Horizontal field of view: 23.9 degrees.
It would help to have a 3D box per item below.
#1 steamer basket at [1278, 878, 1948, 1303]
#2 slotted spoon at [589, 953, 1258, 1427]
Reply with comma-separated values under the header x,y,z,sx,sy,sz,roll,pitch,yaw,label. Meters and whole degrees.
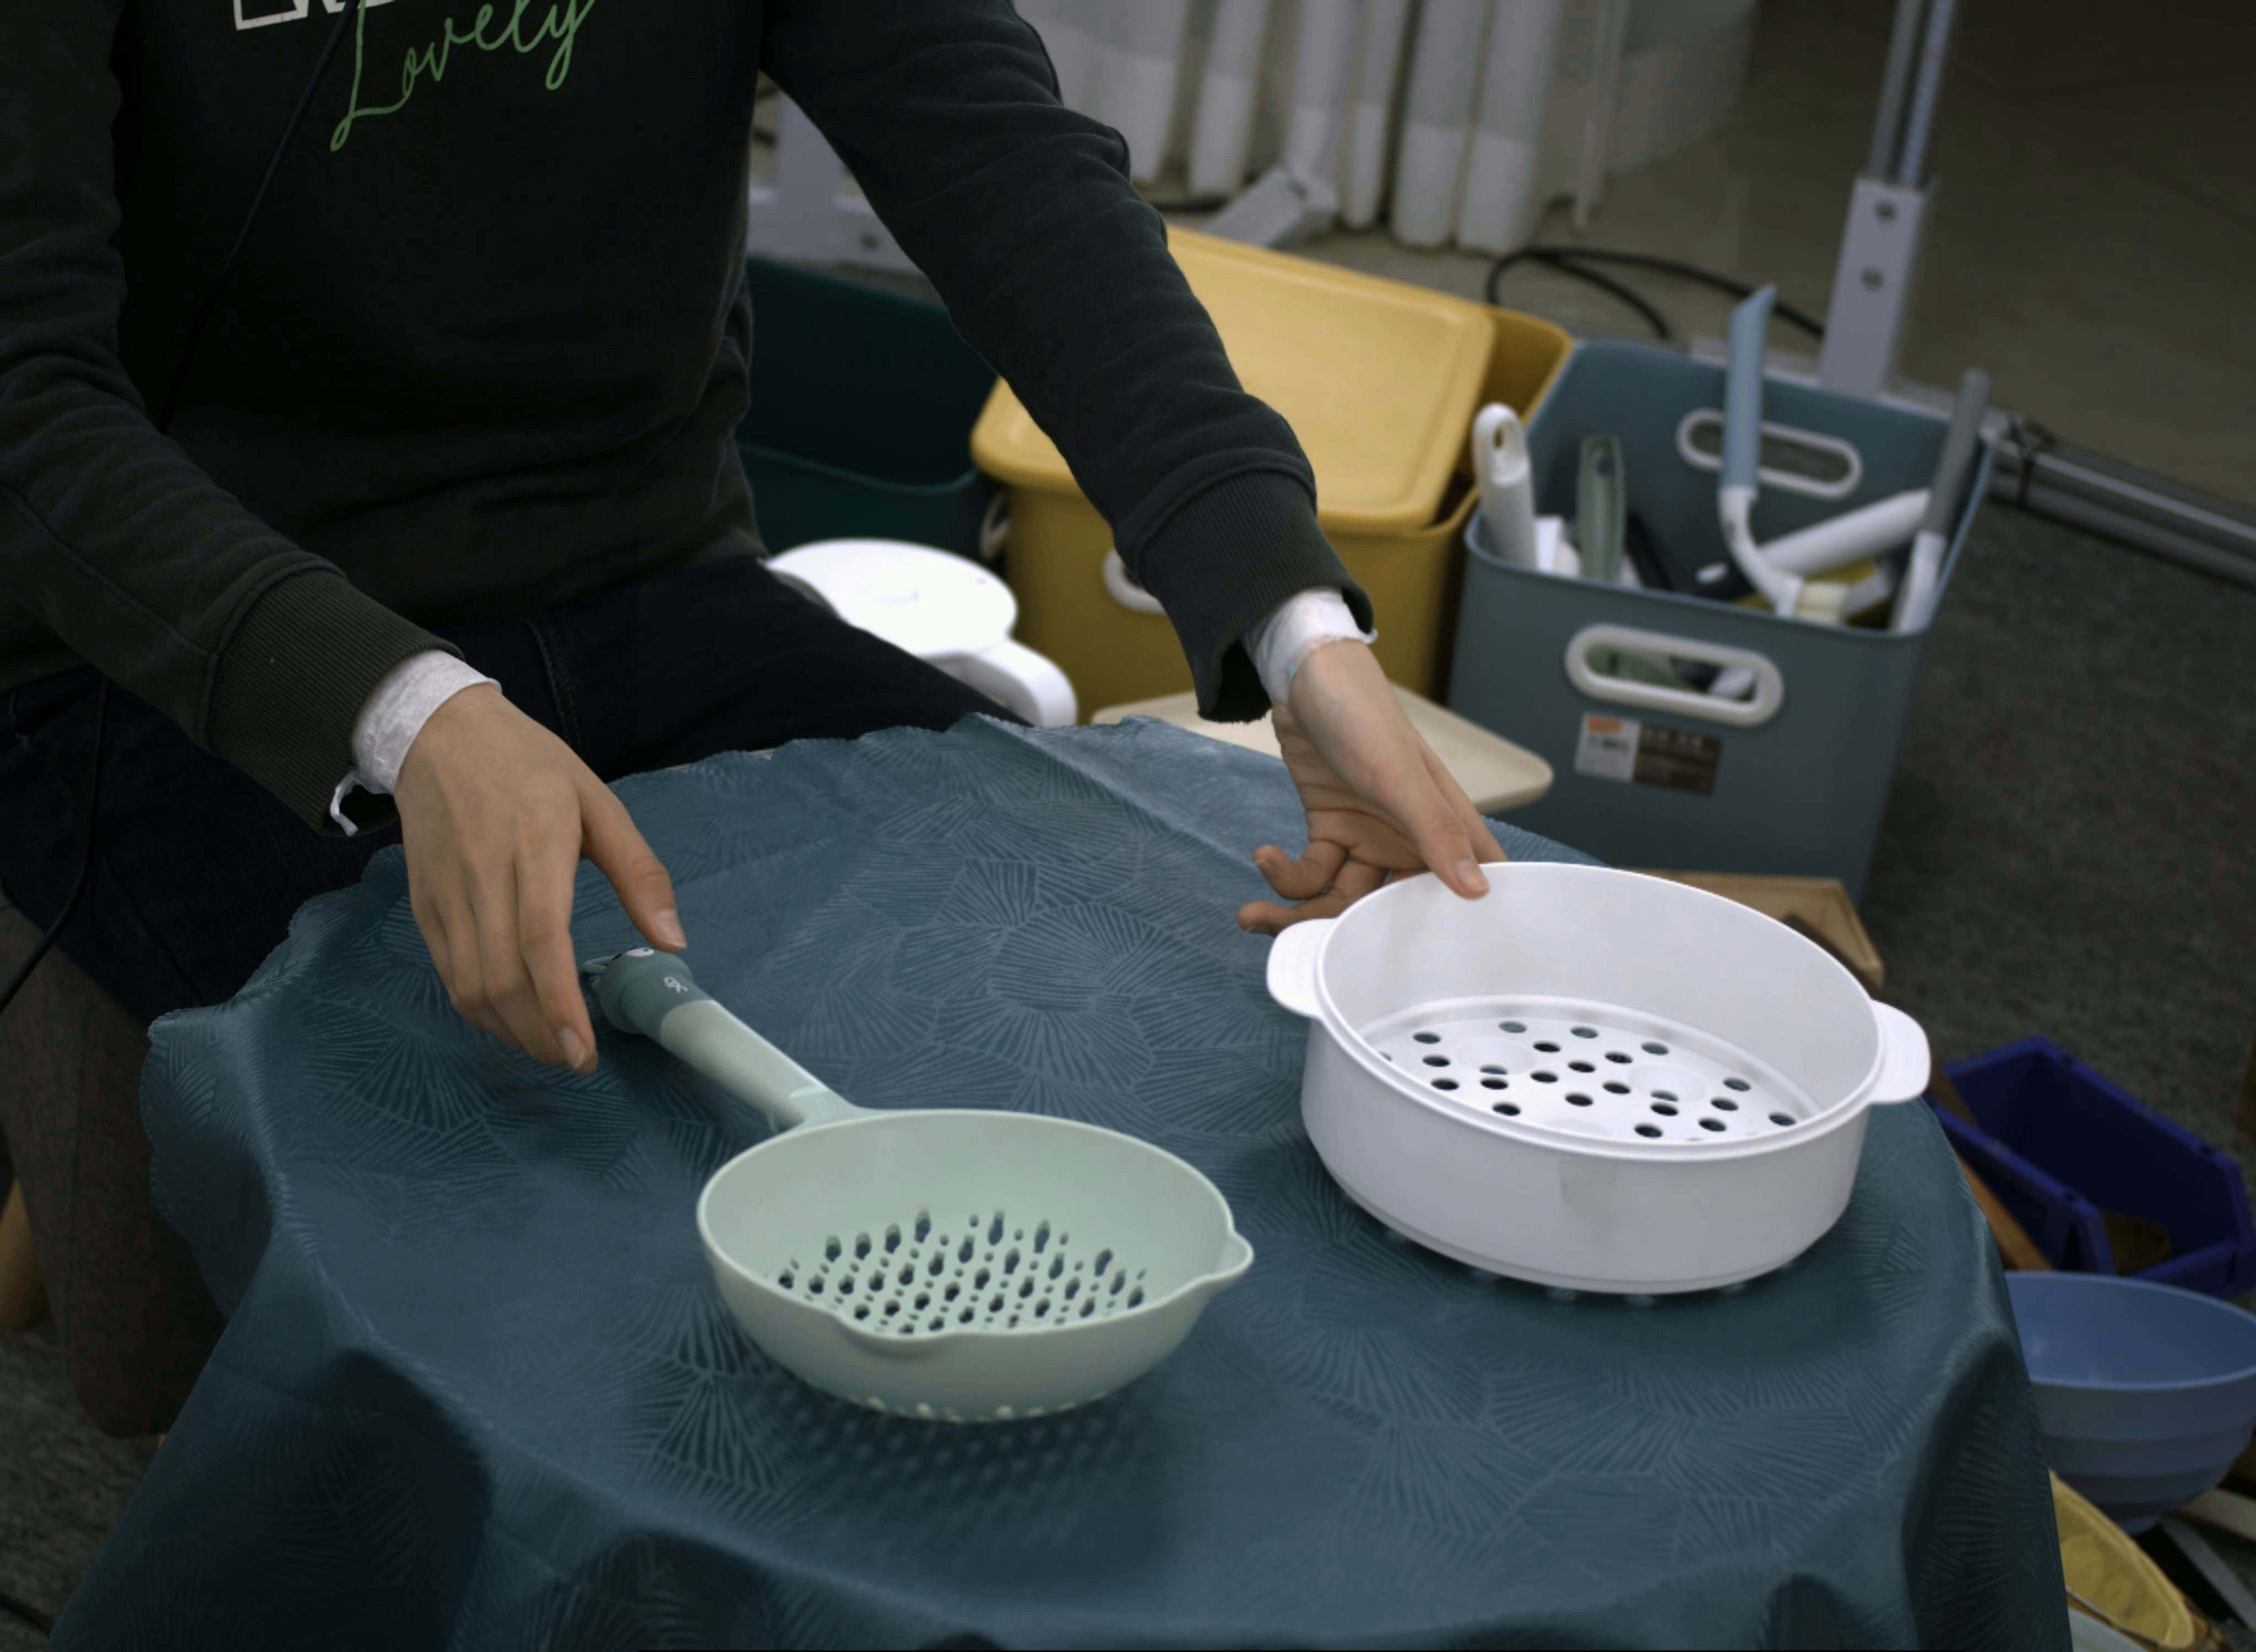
x,y,z,sx,sy,sz,roll,pitch,yaw,label
0.163,0.091,1.832,0.230,0.069,0.203,7,25,3,steamer basket
-0.099,0.103,1.747,0.168,0.075,0.362,-8,30,-28,slotted spoon
